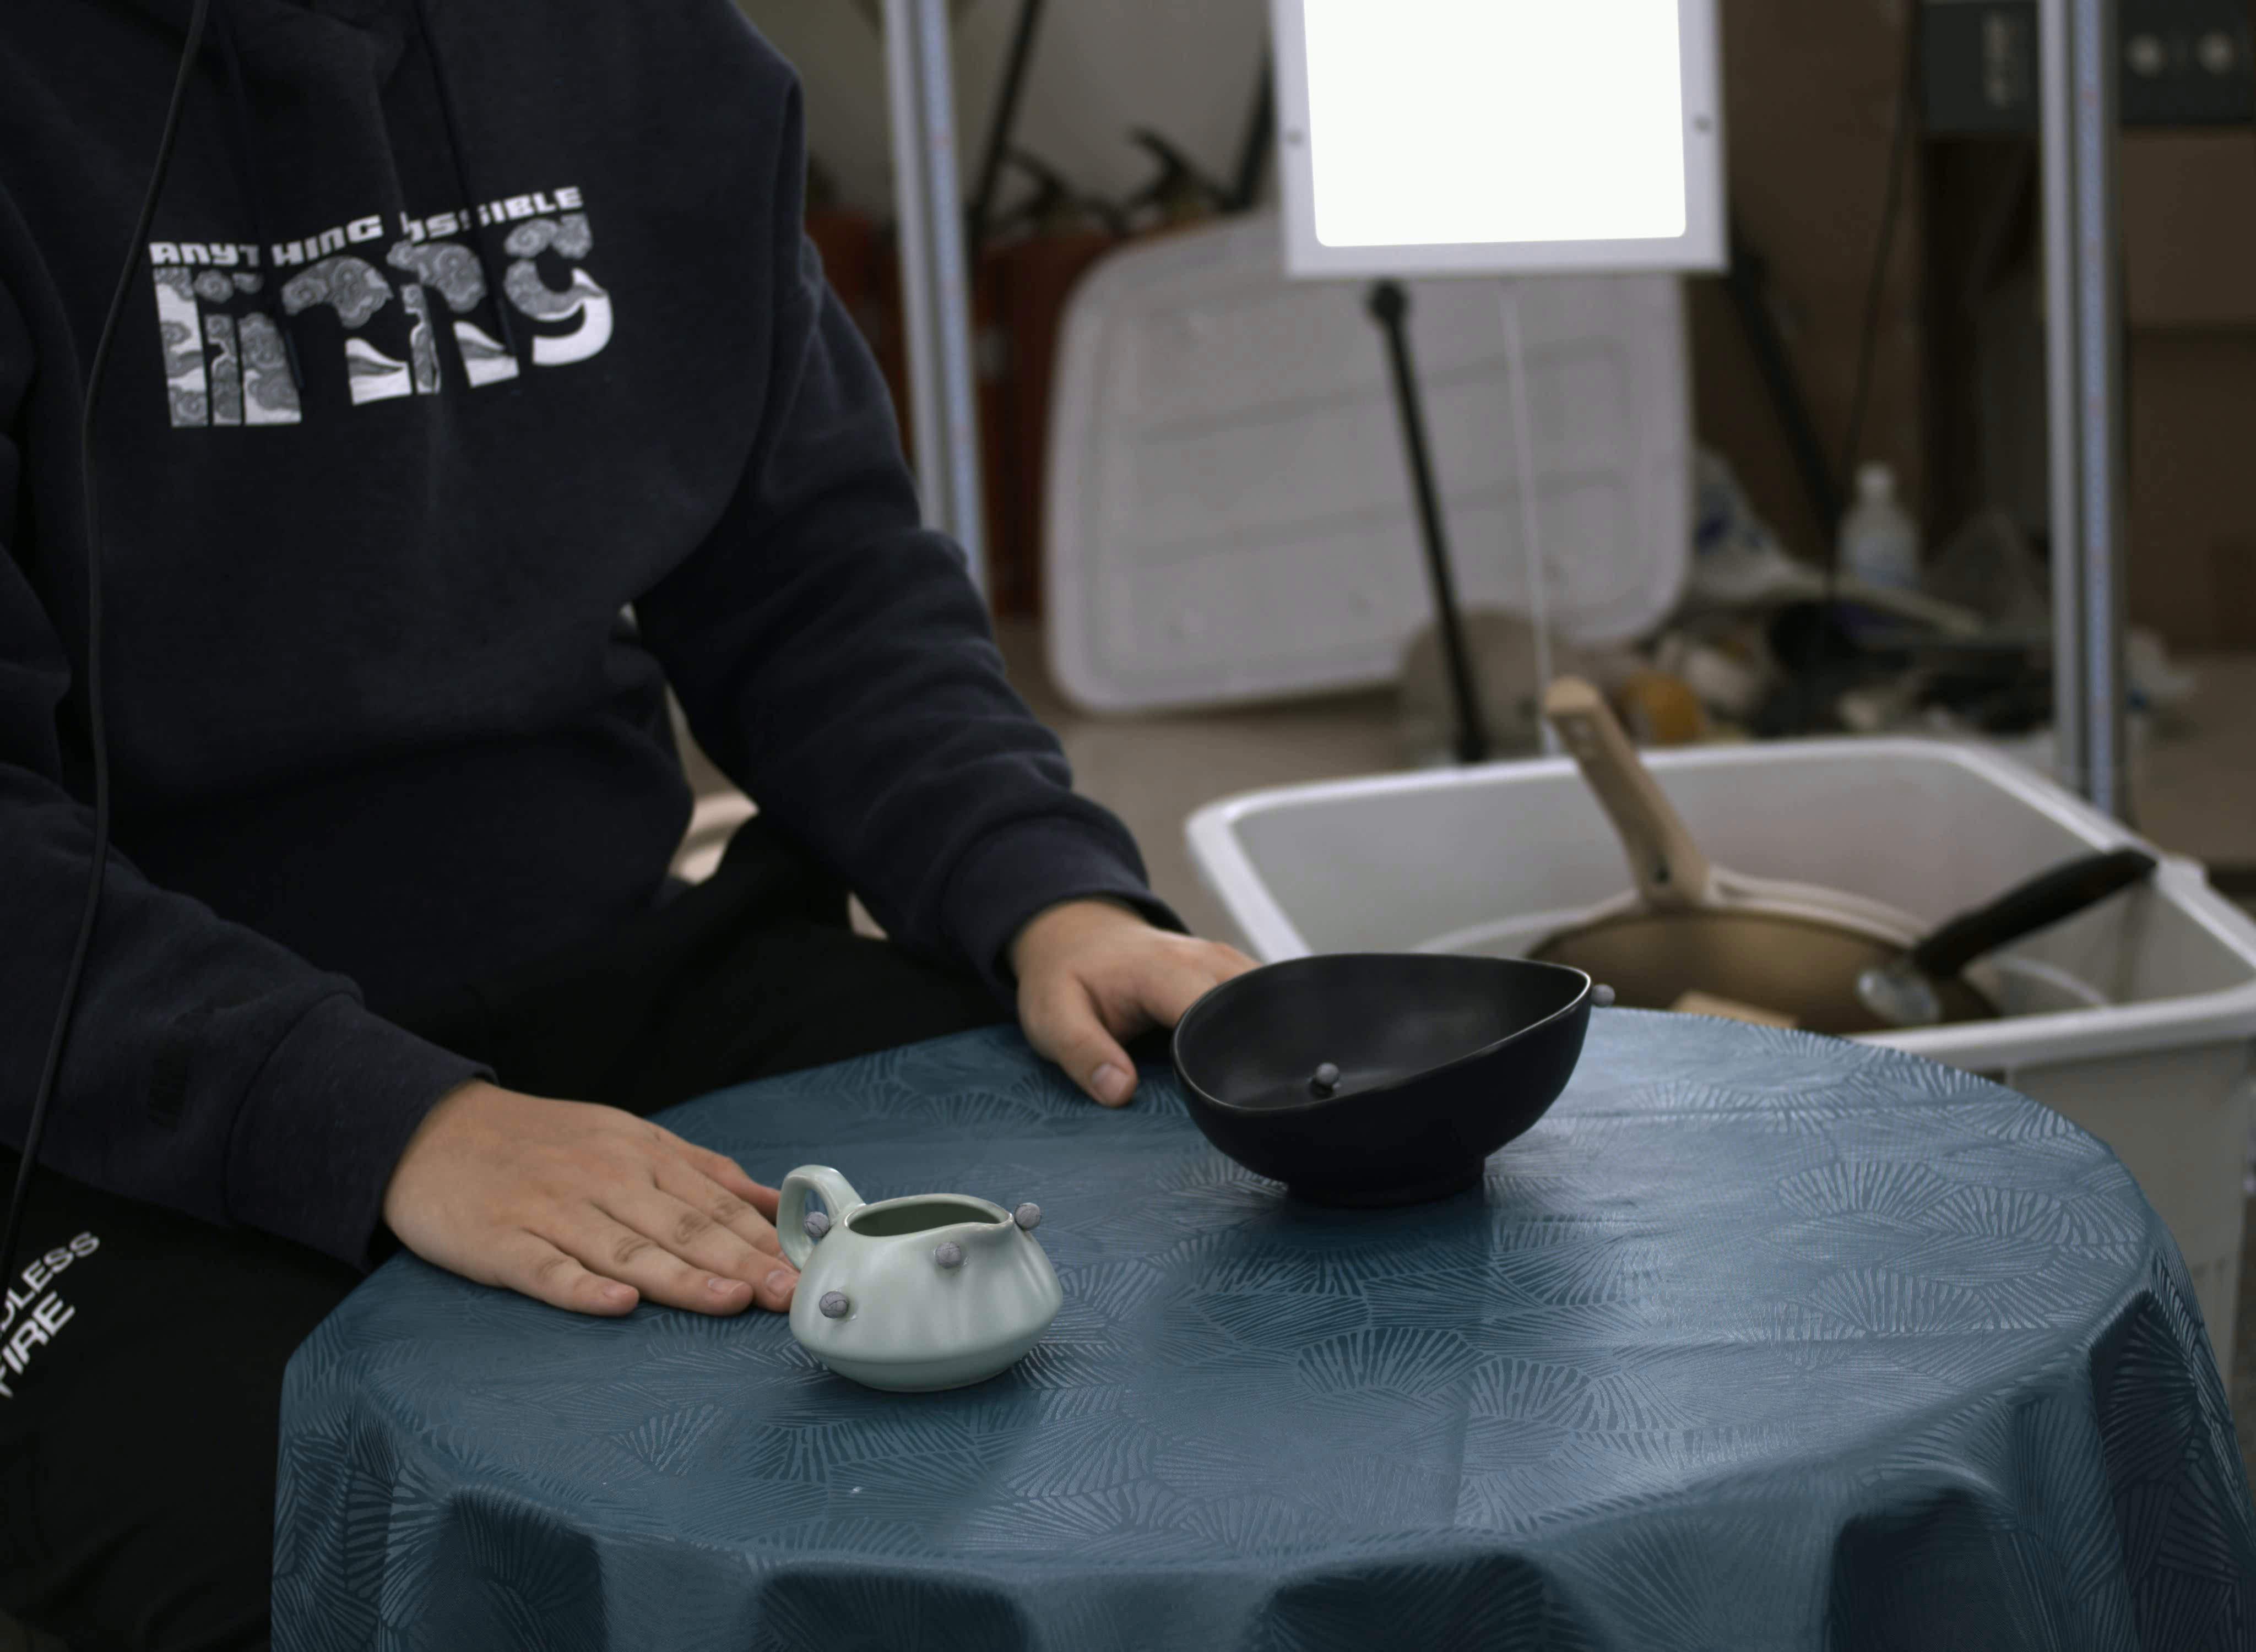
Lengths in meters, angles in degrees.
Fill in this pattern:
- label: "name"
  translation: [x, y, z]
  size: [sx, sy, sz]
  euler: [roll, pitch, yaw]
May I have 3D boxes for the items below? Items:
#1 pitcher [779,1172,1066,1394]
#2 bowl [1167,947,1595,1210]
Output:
- label: "pitcher"
  translation: [-0.072, 0.143, 1.737]
  size: [0.084, 0.060, 0.110]
  euler: [-16, 15, -43]
- label: "bowl"
  translation: [0.089, 0.090, 1.883]
  size: [0.140, 0.067, 0.166]
  euler: [4, 17, 35]
